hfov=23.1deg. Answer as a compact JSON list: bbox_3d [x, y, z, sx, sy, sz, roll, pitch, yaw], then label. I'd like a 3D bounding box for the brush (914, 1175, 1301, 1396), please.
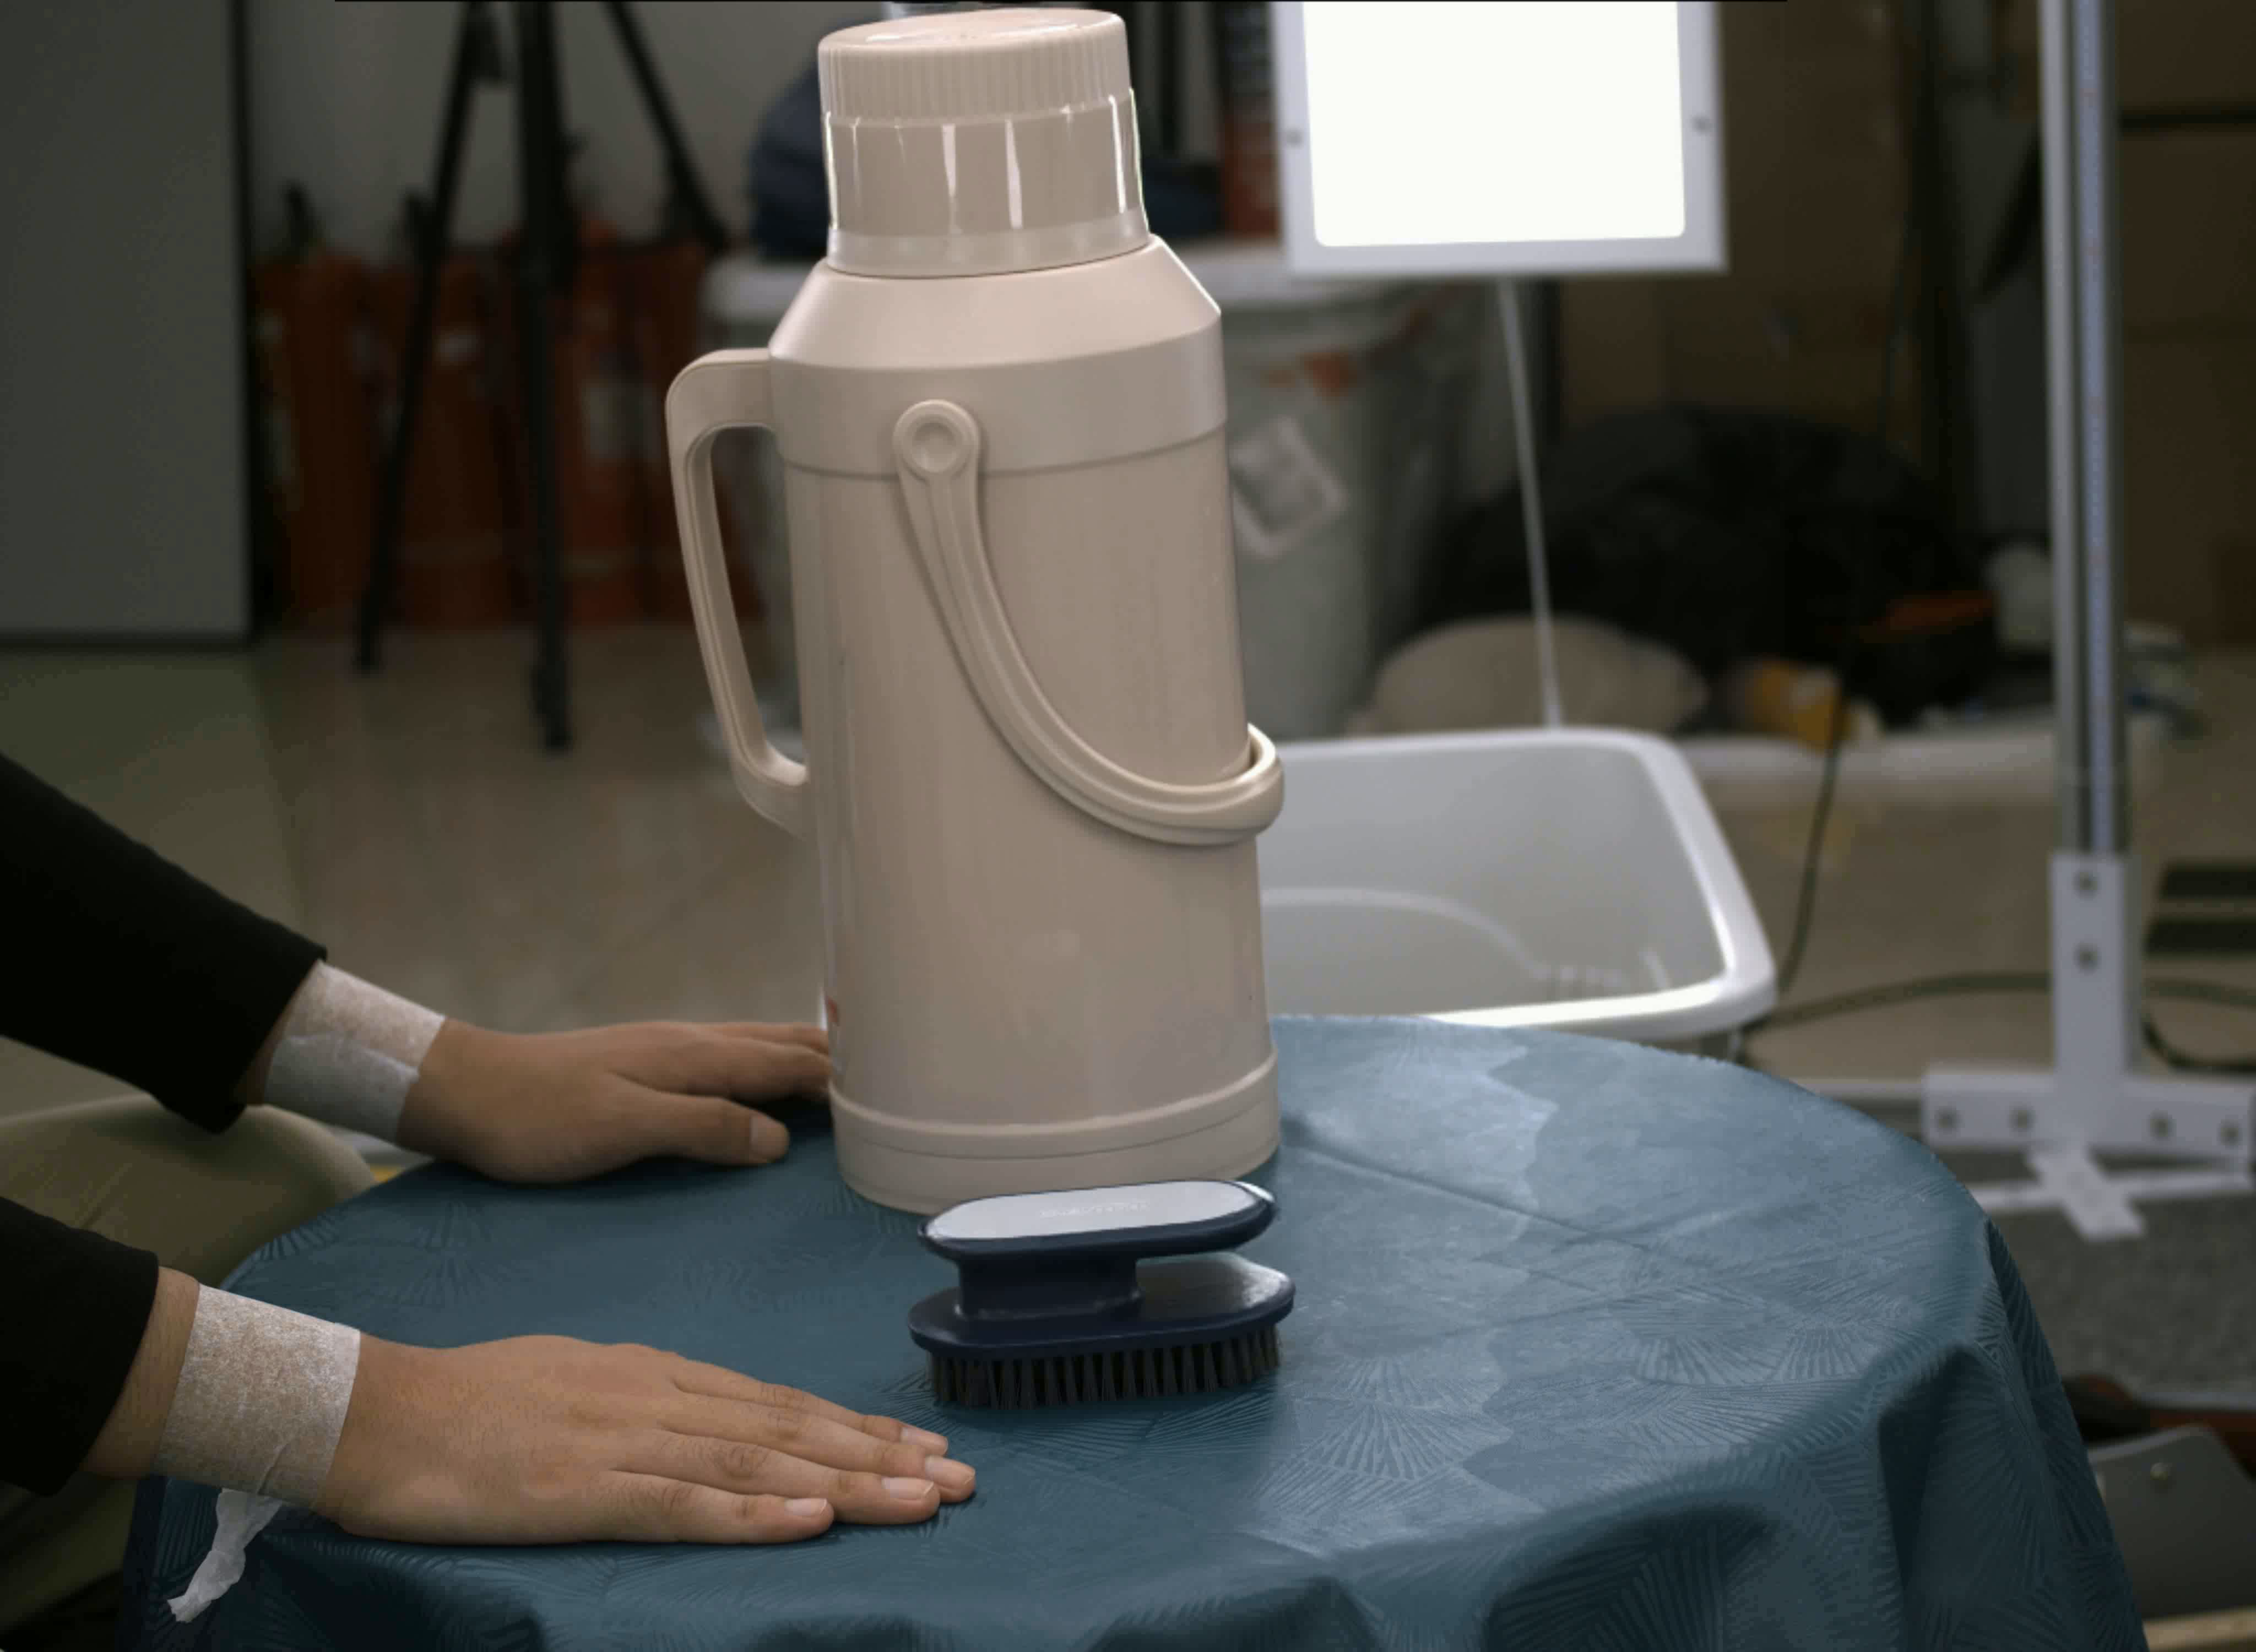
[{"bbox_3d":[-0.006,0.145,1.711,0.121,0.061,0.068,-4,11,1],"label":"brush"}]

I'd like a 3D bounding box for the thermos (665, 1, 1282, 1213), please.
[{"bbox_3d":[-0.053,-0.077,1.911,0.209,0.408,0.173,-1,16,14],"label":"thermos"}]
